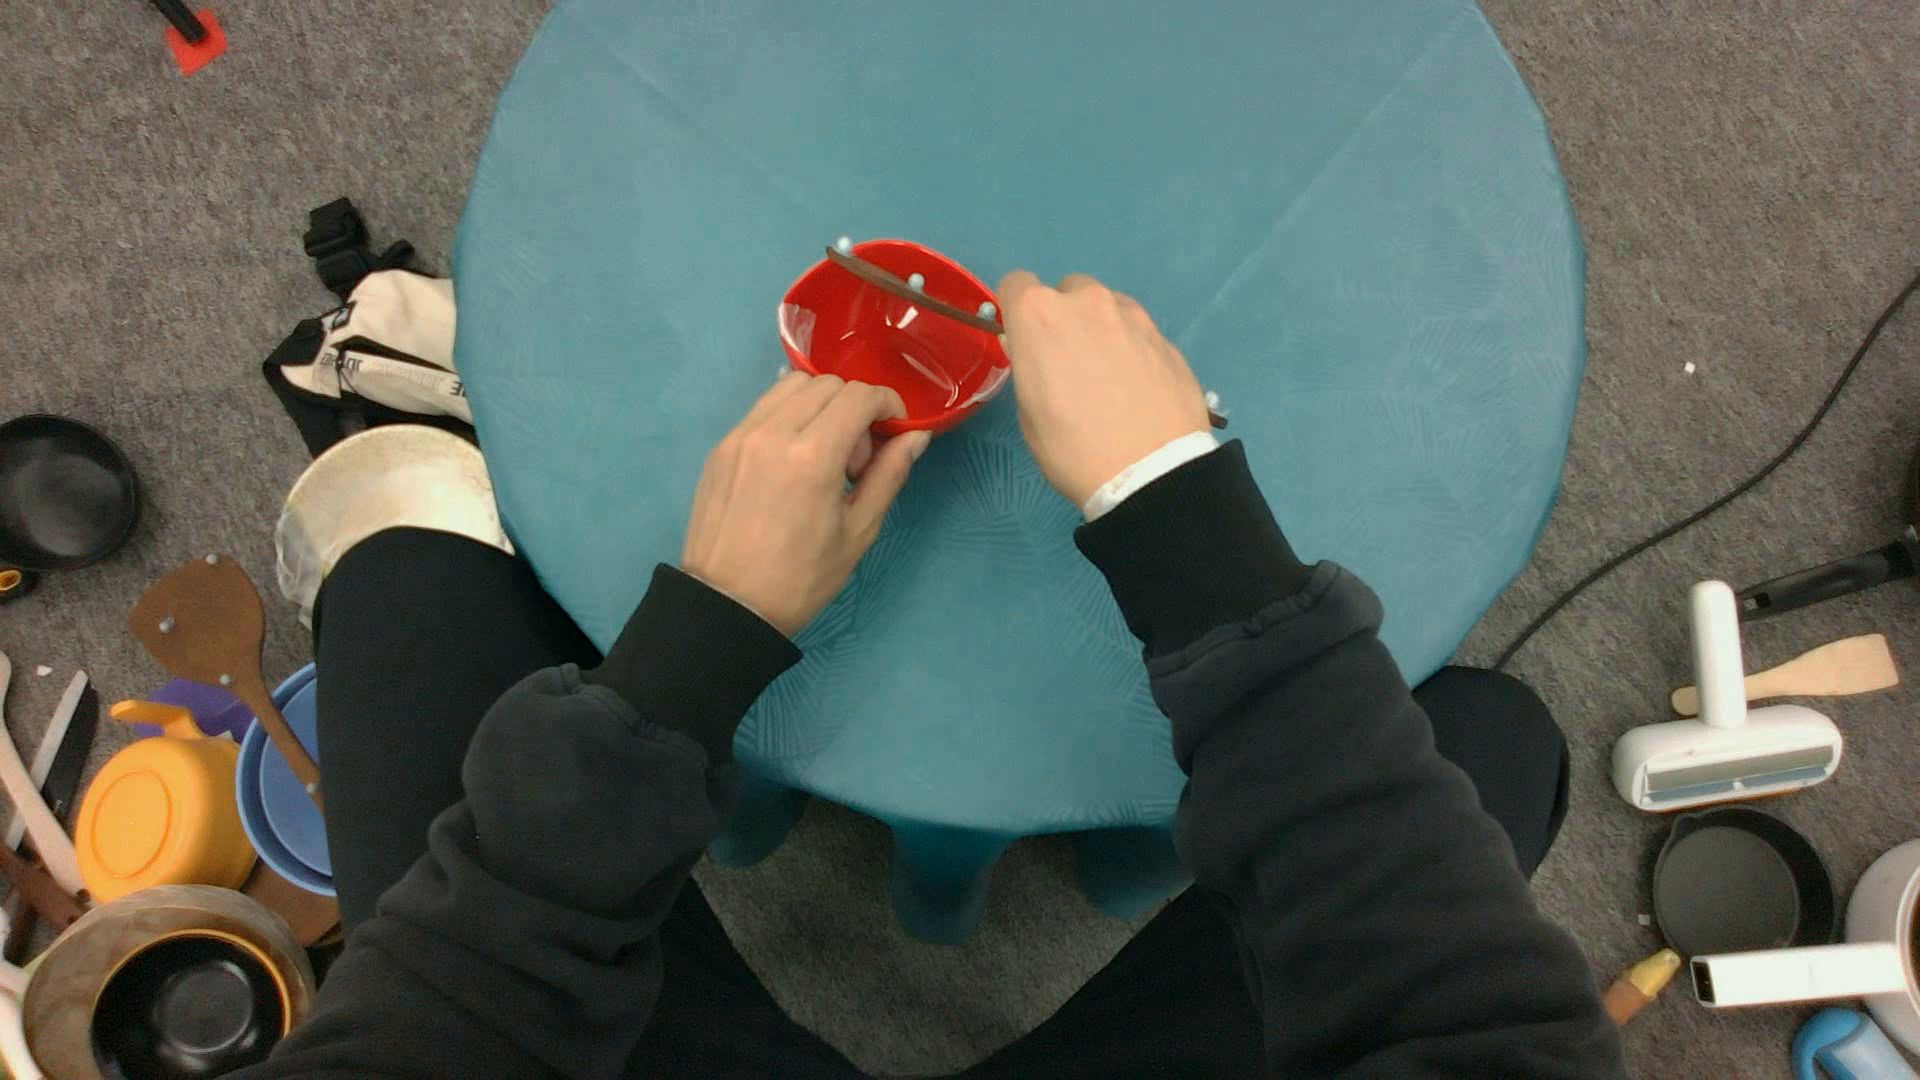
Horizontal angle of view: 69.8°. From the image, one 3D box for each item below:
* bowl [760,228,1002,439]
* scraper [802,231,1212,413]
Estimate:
[{"bbox_3d":[-0.042,-0.094,0.683,0.119,0.051,0.119,8,54,-11],"label":"bowl"},{"bbox_3d":[0.020,-0.099,0.633,0.211,0.076,0.011,27,101,25],"label":"scraper"}]
